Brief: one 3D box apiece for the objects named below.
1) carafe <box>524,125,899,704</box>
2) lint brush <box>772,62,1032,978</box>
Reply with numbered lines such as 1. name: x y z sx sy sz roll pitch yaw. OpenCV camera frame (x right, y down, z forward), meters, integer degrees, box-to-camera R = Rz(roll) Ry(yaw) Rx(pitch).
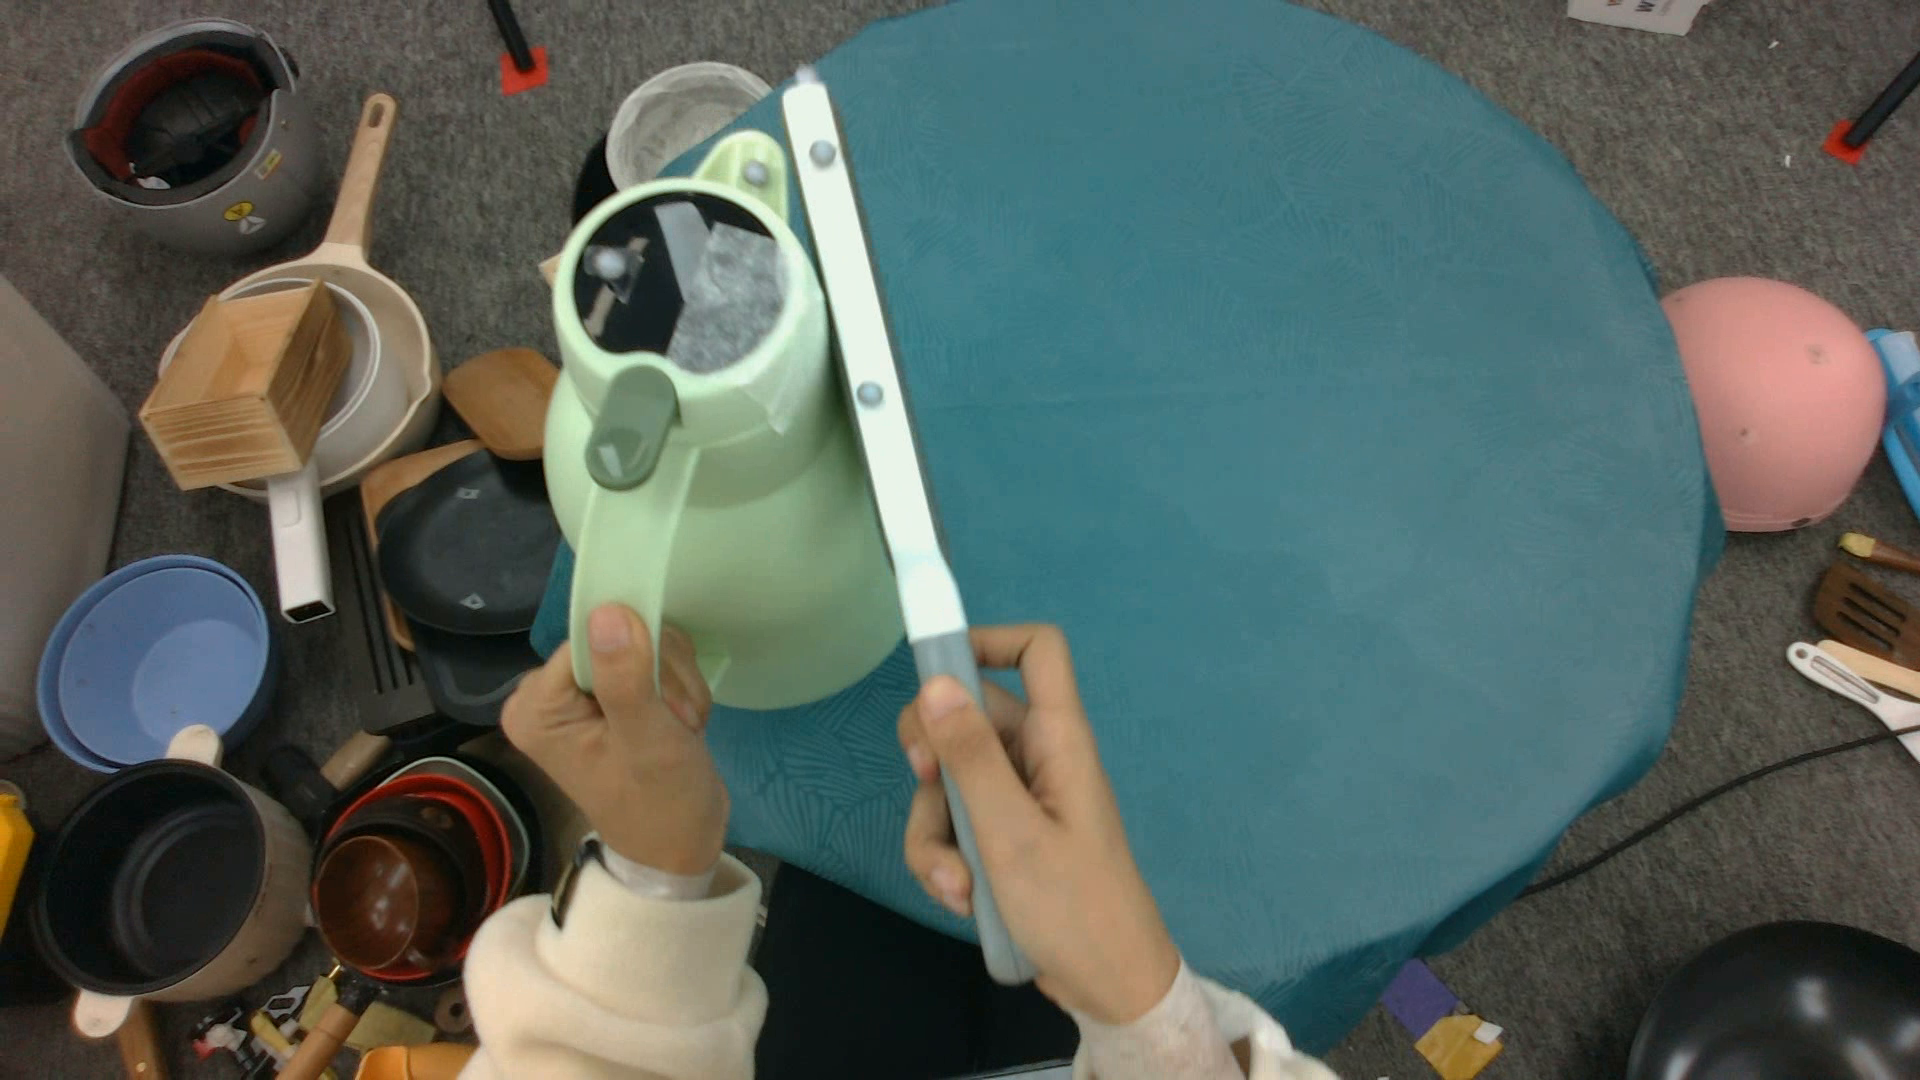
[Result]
1. carafe: -0.097 -0.025 0.524 0.144 0.256 0.187 14 74 1
2. lint brush: -0.021 -0.014 0.449 0.021 0.060 0.309 -13 80 -2
